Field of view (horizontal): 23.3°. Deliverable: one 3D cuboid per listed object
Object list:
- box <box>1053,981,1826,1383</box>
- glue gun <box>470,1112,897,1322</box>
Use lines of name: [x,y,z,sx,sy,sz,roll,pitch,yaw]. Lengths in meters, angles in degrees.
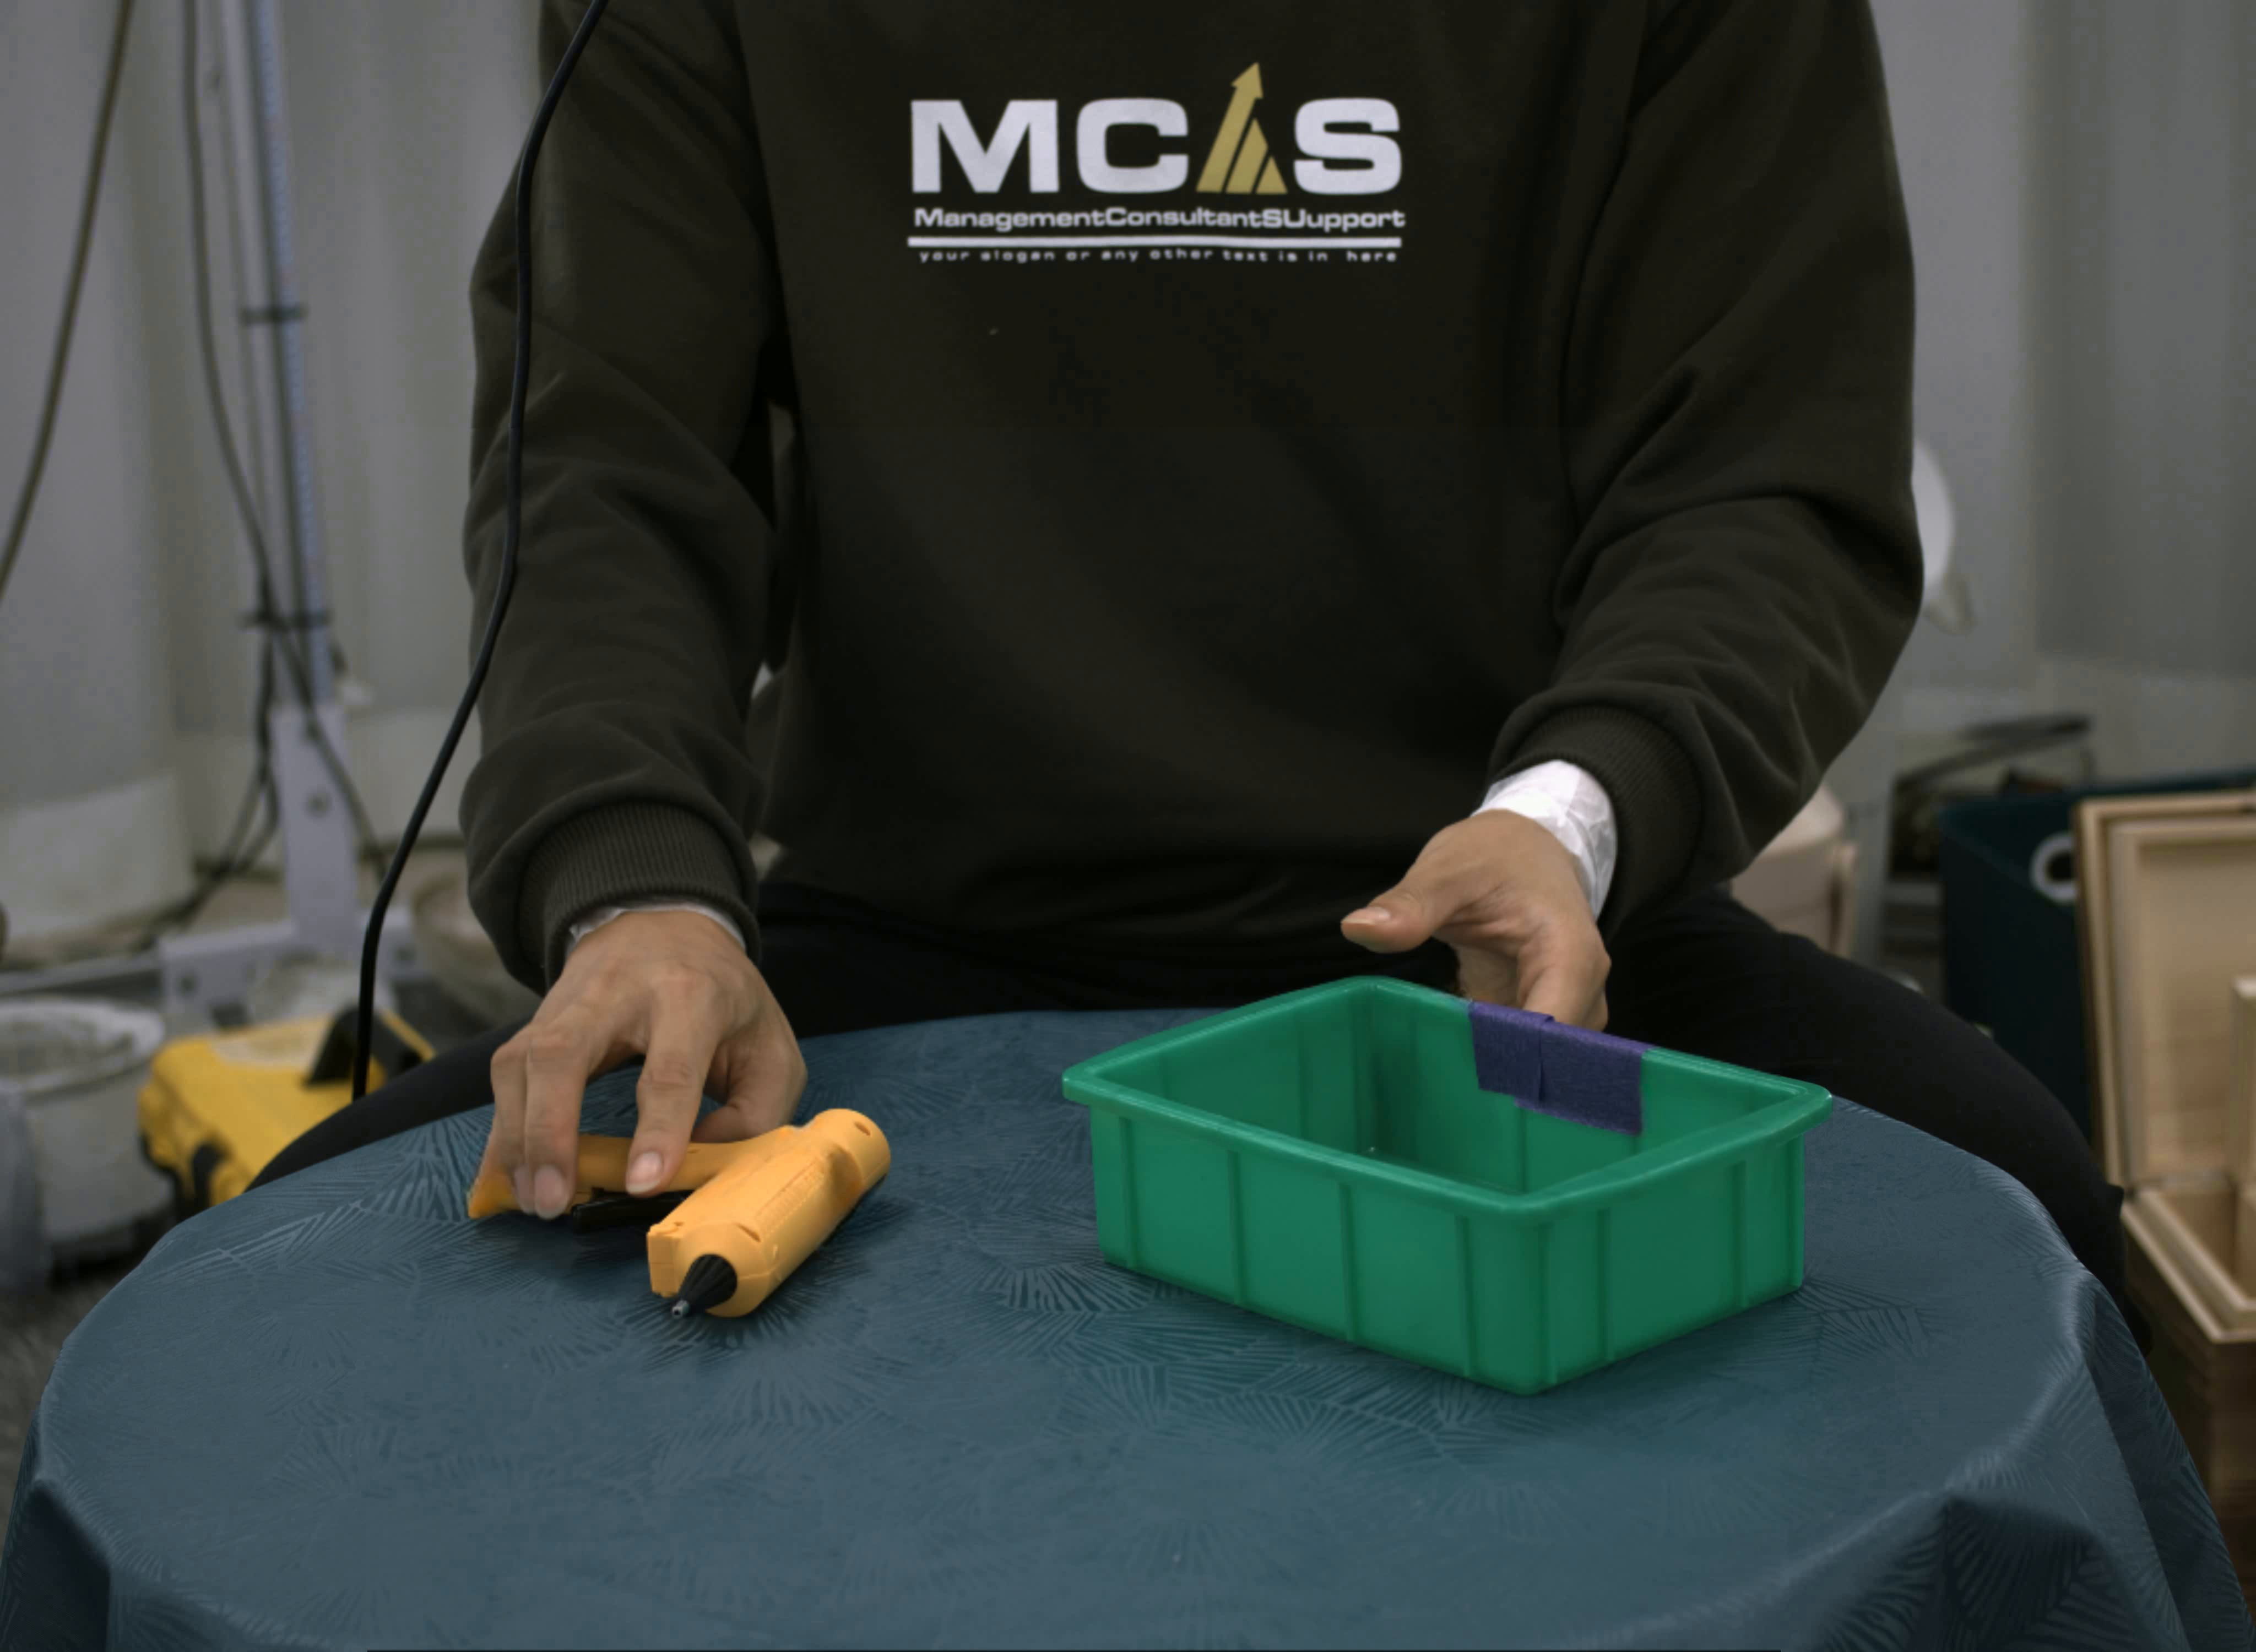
box: [0.091,0.104,1.619,0.138,0.065,0.211,-13,16,-41]
glue gun: [-0.152,0.123,1.666,0.133,0.031,0.152,-1,15,13]
